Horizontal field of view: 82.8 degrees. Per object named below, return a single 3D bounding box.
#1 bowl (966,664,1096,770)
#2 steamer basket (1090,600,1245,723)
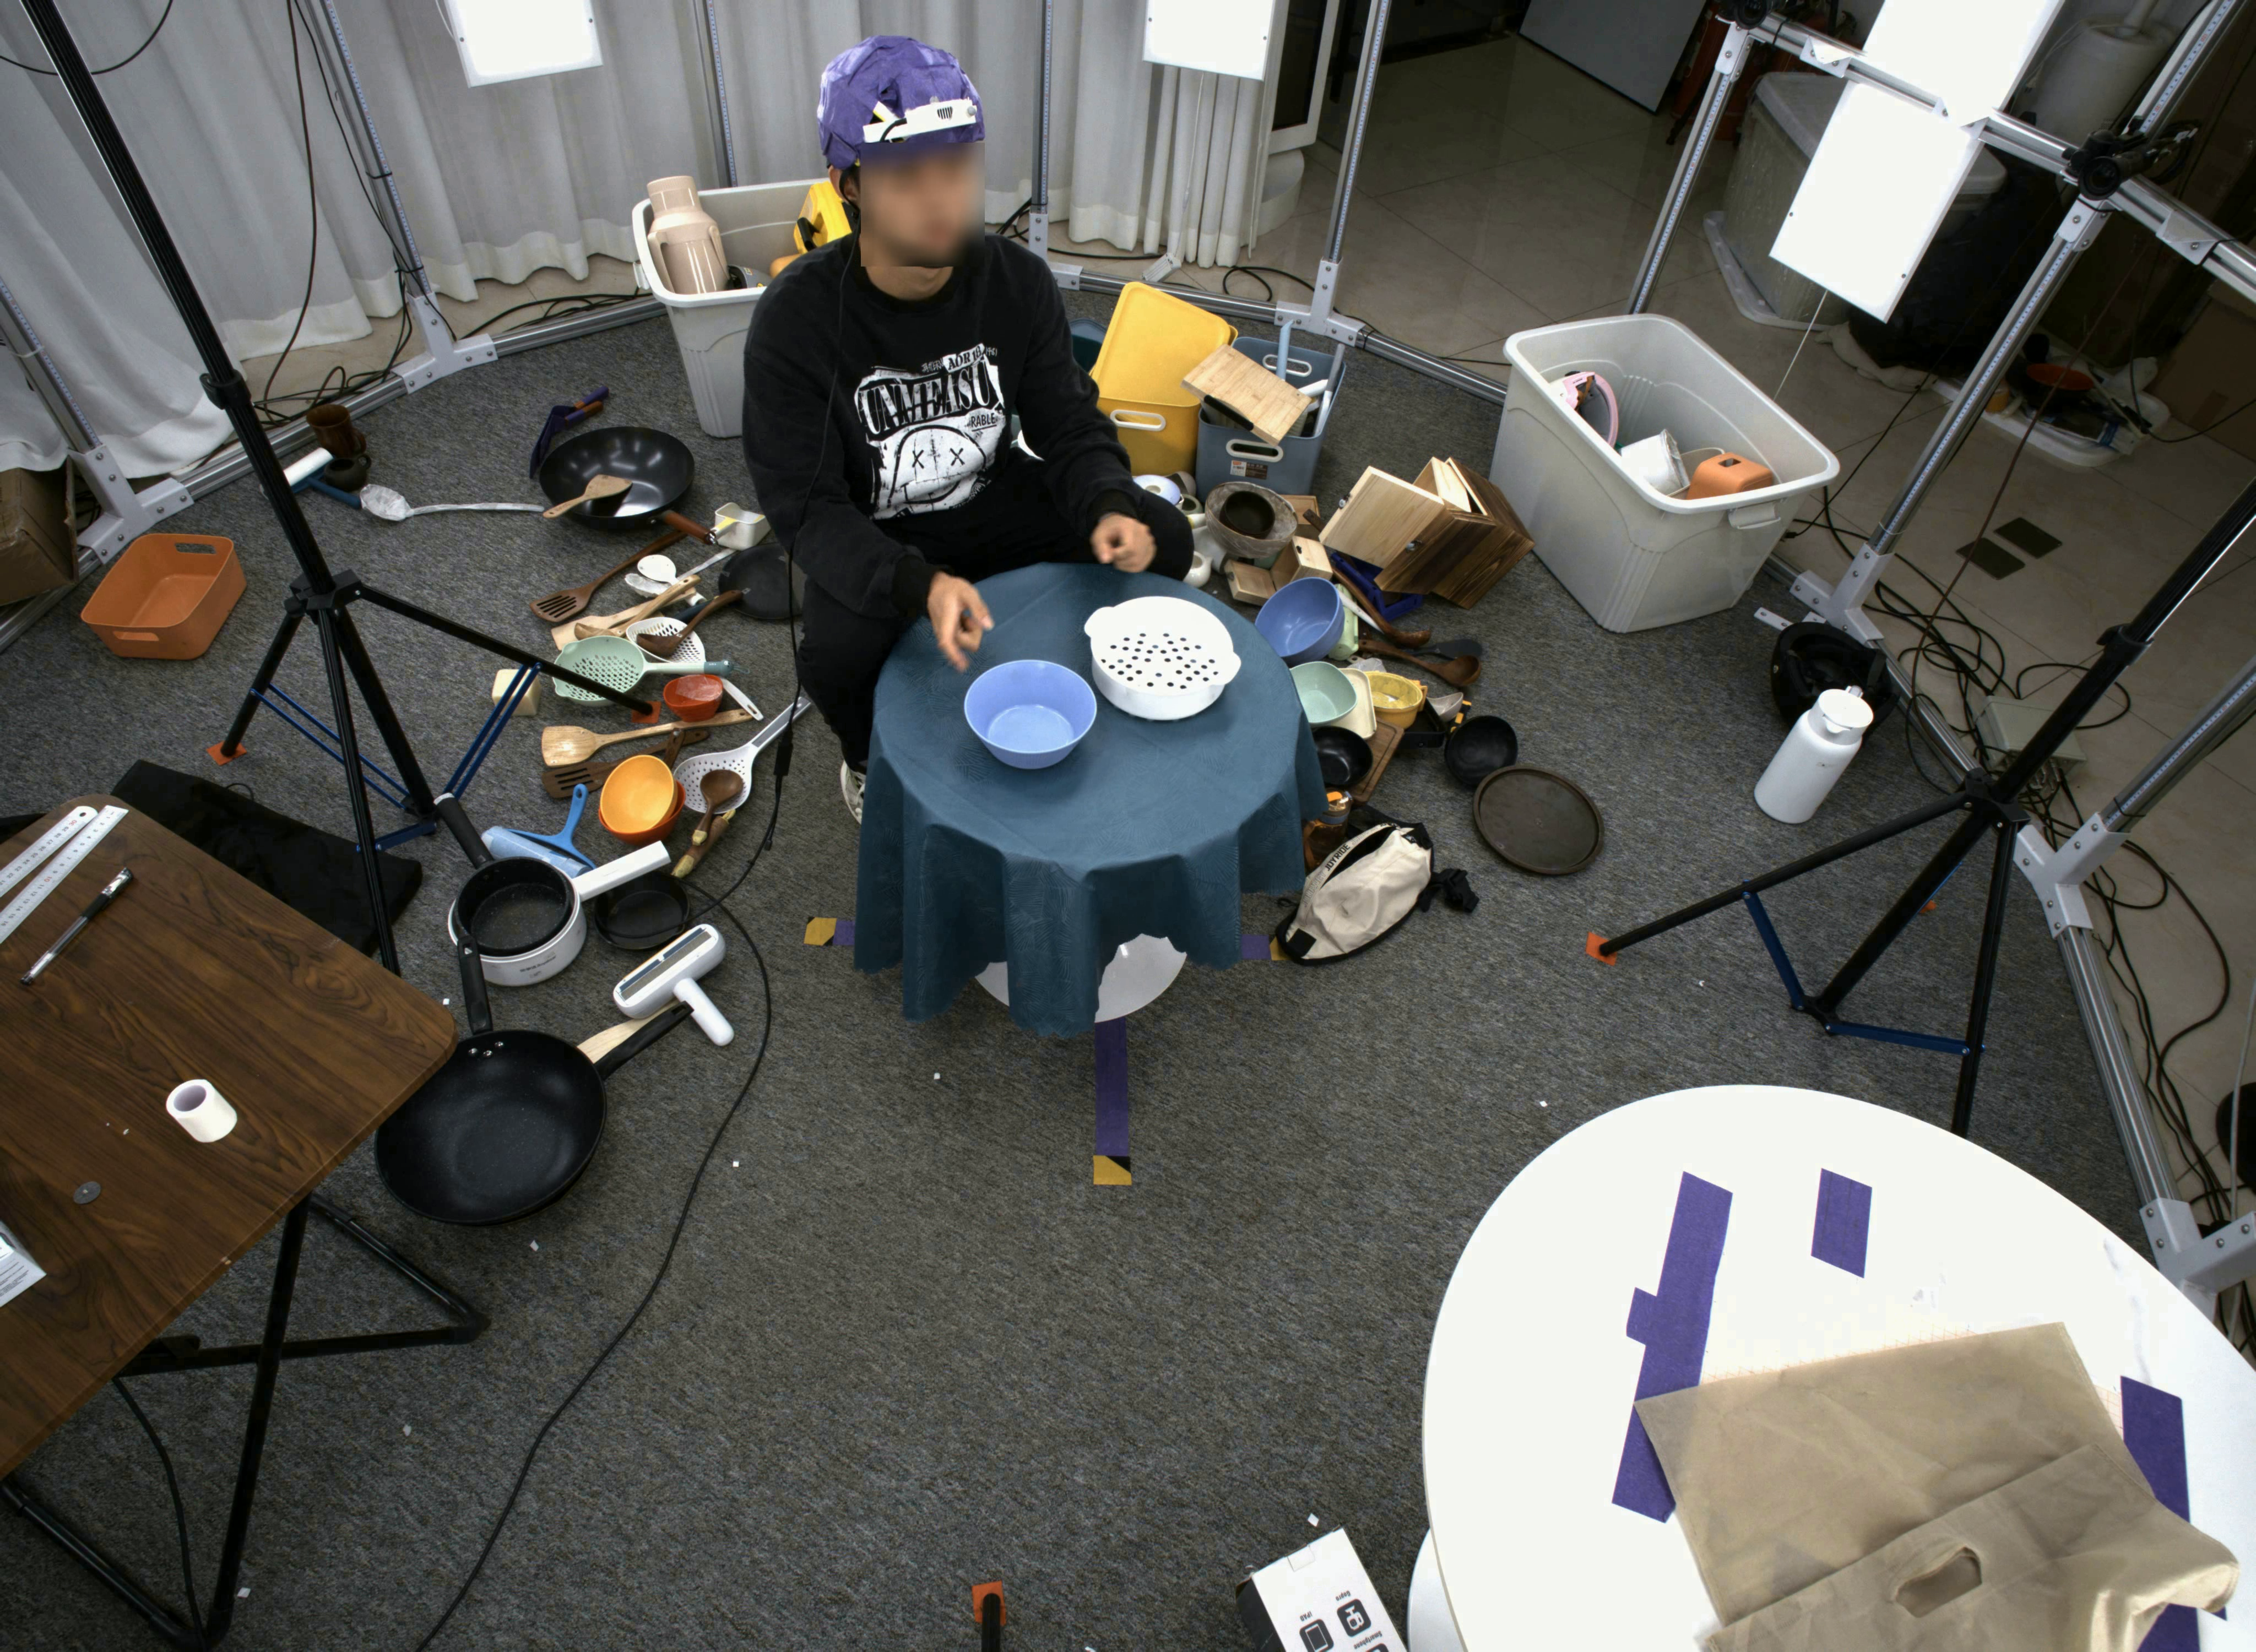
[{"bbox_3d":[-0.132,-0.140,1.751,0.176,0.068,0.180,2,48,-3],"label":"bowl"},{"bbox_3d":[0.053,-0.236,1.849,0.232,0.067,0.205,24,51,13],"label":"steamer basket"}]
